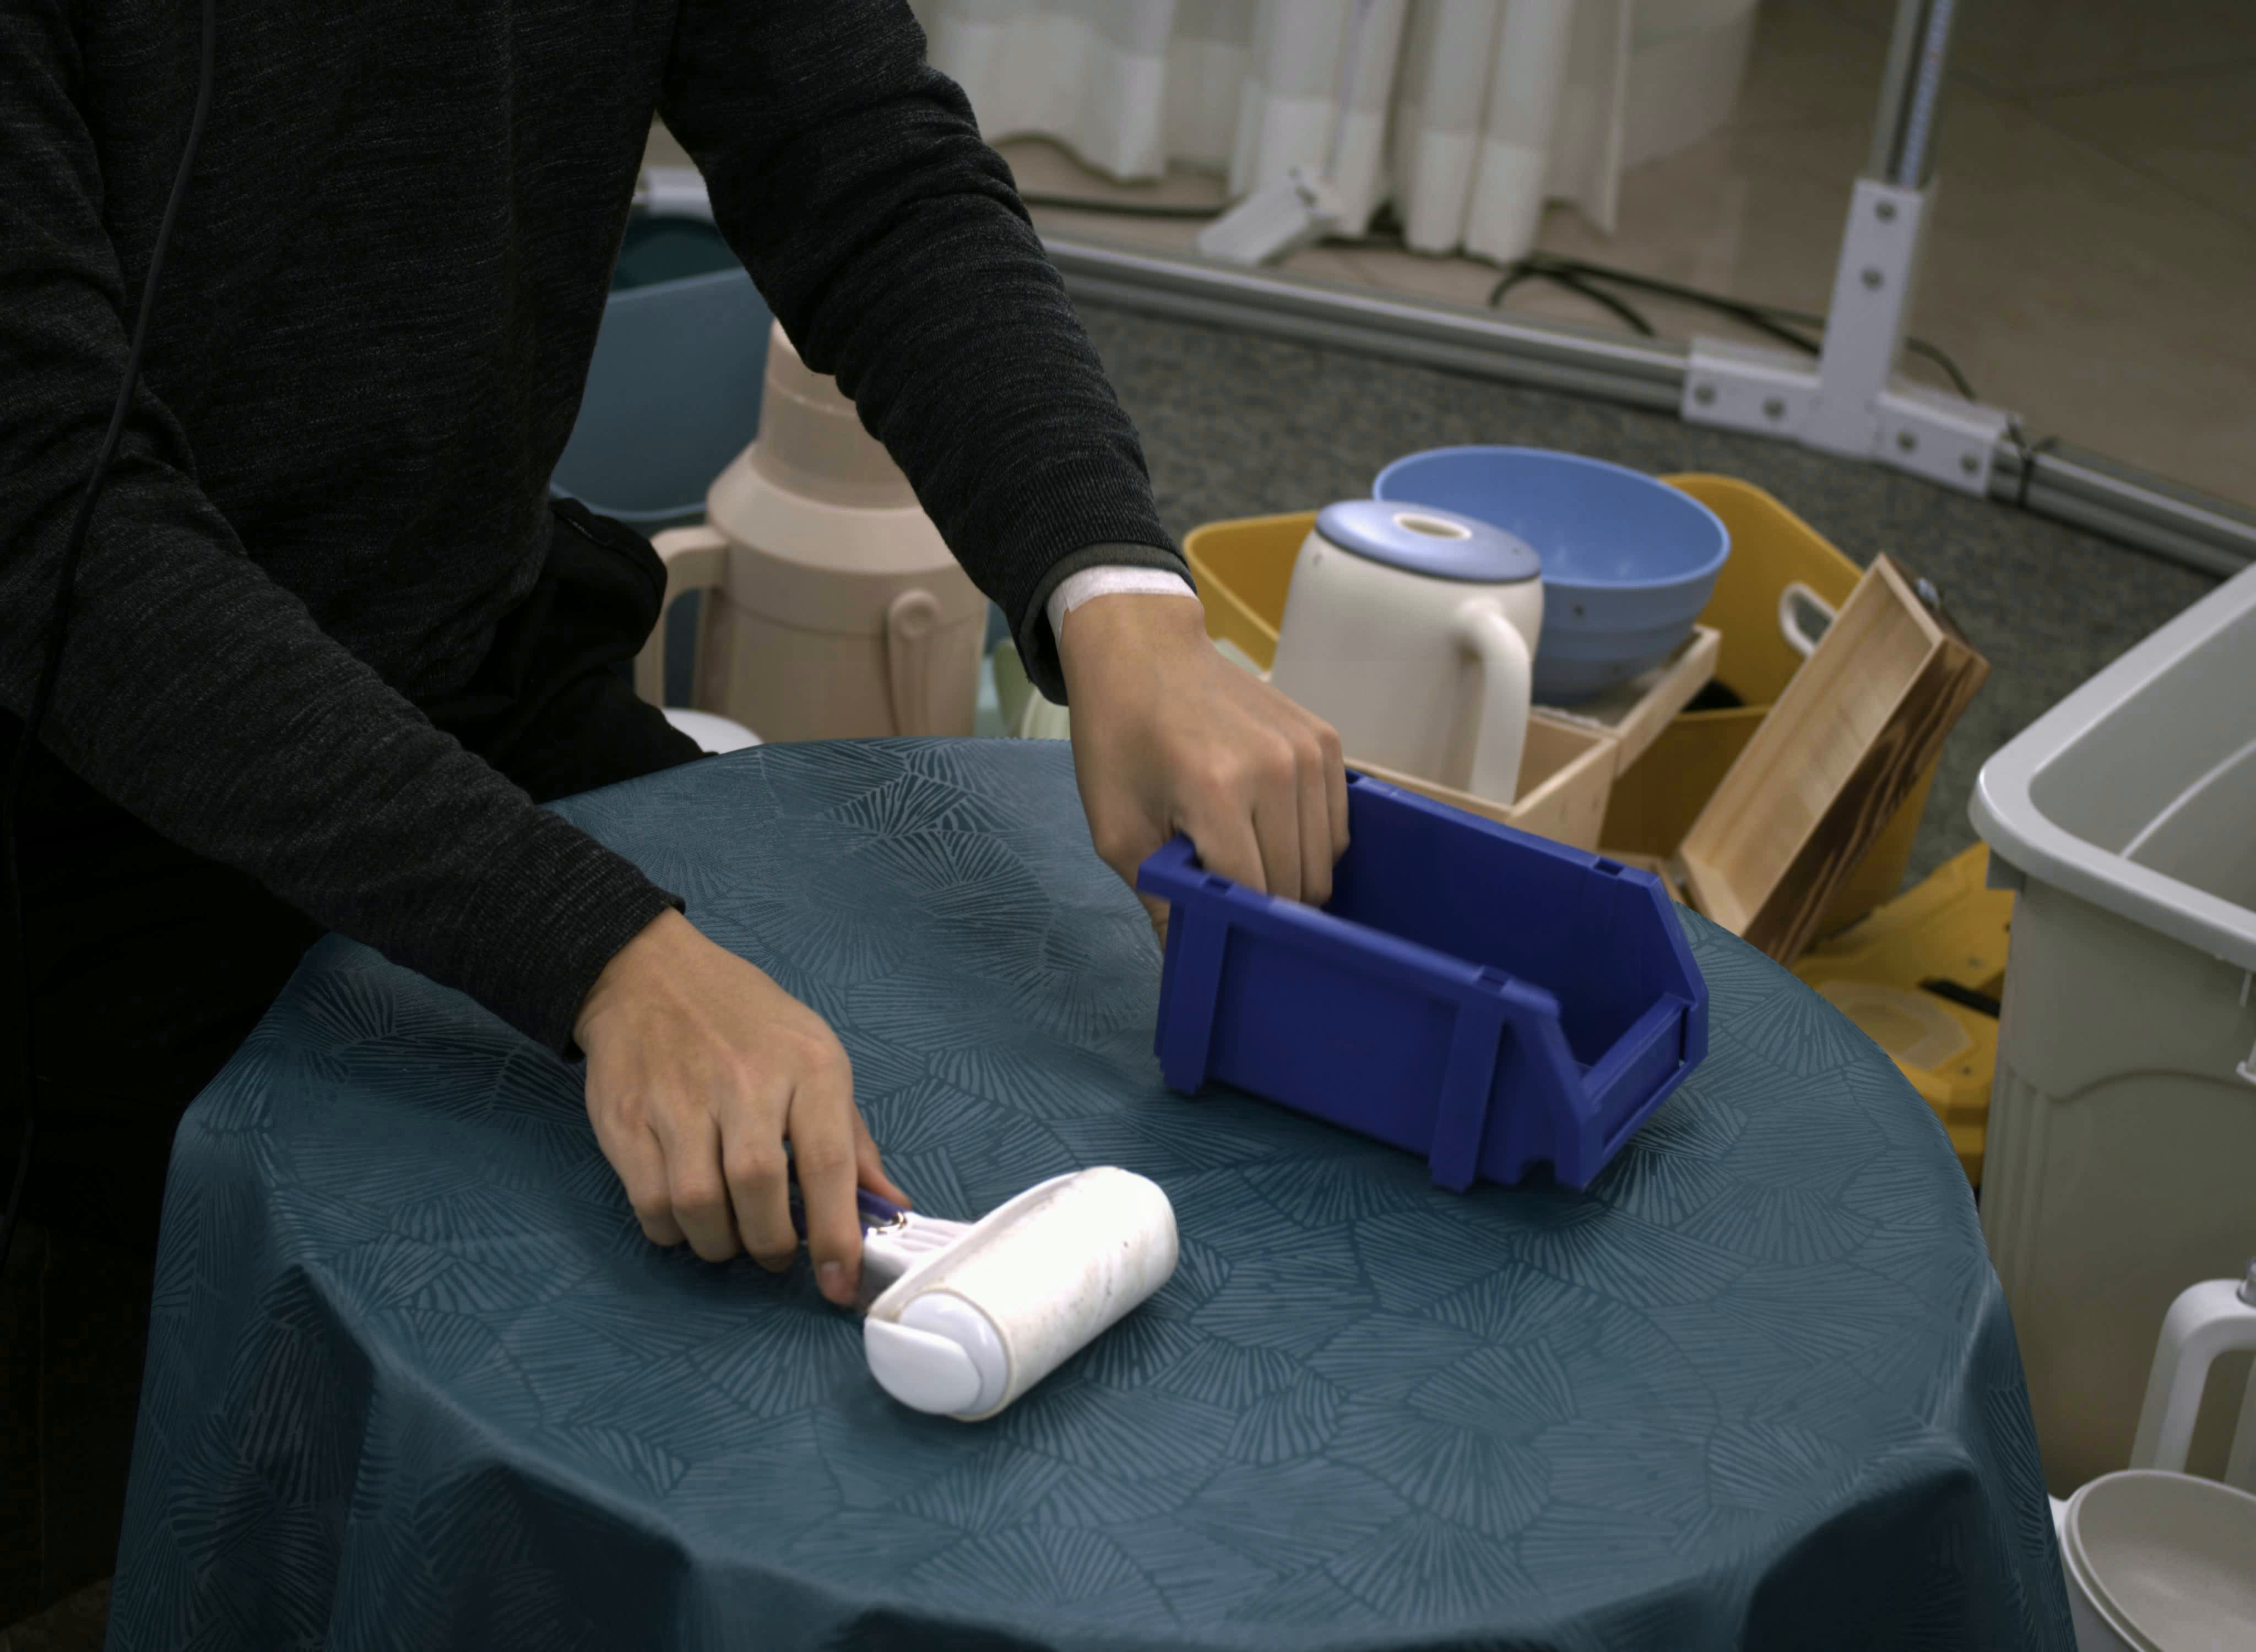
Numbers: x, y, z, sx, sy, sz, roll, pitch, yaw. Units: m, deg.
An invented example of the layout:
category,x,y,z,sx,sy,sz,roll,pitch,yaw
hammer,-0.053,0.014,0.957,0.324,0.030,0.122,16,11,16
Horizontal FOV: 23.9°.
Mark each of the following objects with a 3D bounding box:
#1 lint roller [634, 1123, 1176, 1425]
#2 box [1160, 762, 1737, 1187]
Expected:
category,x,y,z,sx,sy,sz,roll,pitch,yaw
lint roller,-0.083,0.123,1.724,0.182,0.050,0.132,27,34,25
box,0.114,0.055,1.865,0.180,0.081,0.124,17,26,23
